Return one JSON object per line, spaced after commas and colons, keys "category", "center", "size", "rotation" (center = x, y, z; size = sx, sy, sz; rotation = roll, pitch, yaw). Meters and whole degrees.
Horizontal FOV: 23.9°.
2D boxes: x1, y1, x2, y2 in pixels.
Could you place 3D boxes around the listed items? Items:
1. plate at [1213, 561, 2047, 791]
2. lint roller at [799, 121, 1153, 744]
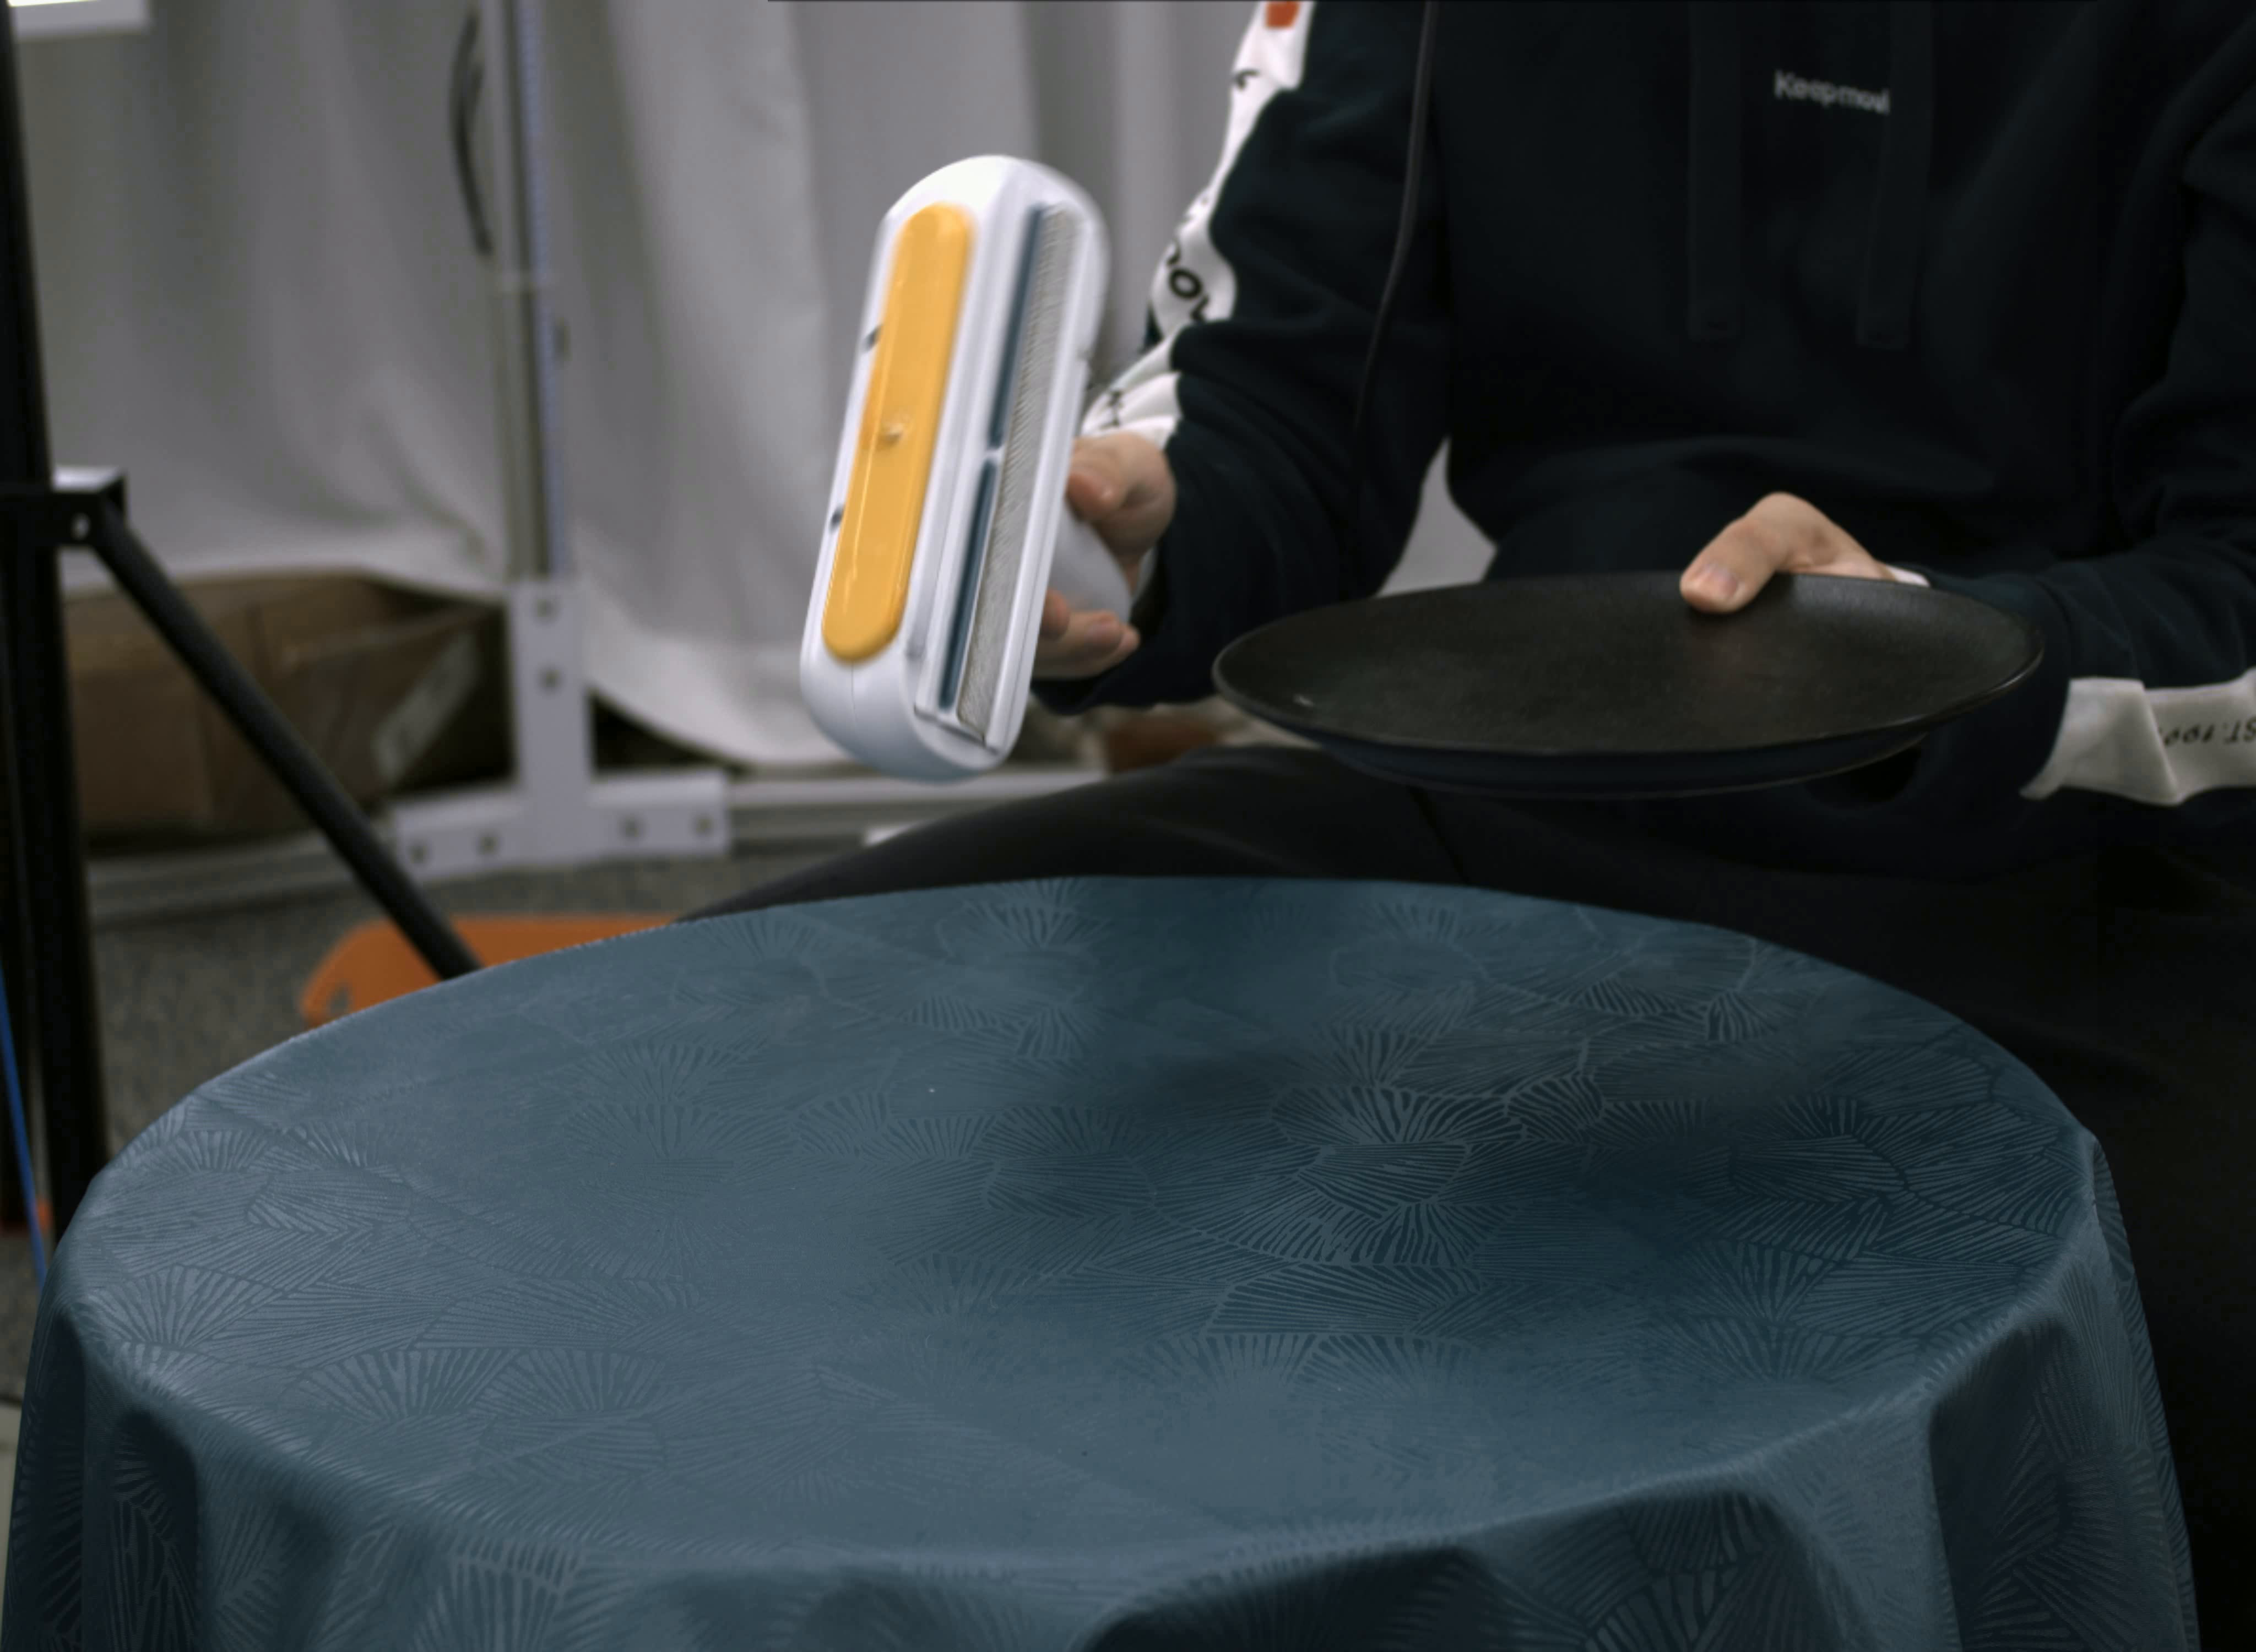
{"category": "plate", "center": [0.146, -0.042, 1.552], "size": [0.243, 0.023, 0.245], "rotation": [-3, 14, -1]}
{"category": "lint roller", "center": [-0.028, -0.096, 1.659], "size": [0.075, 0.194, 0.188], "rotation": [-2, -24, 31]}
